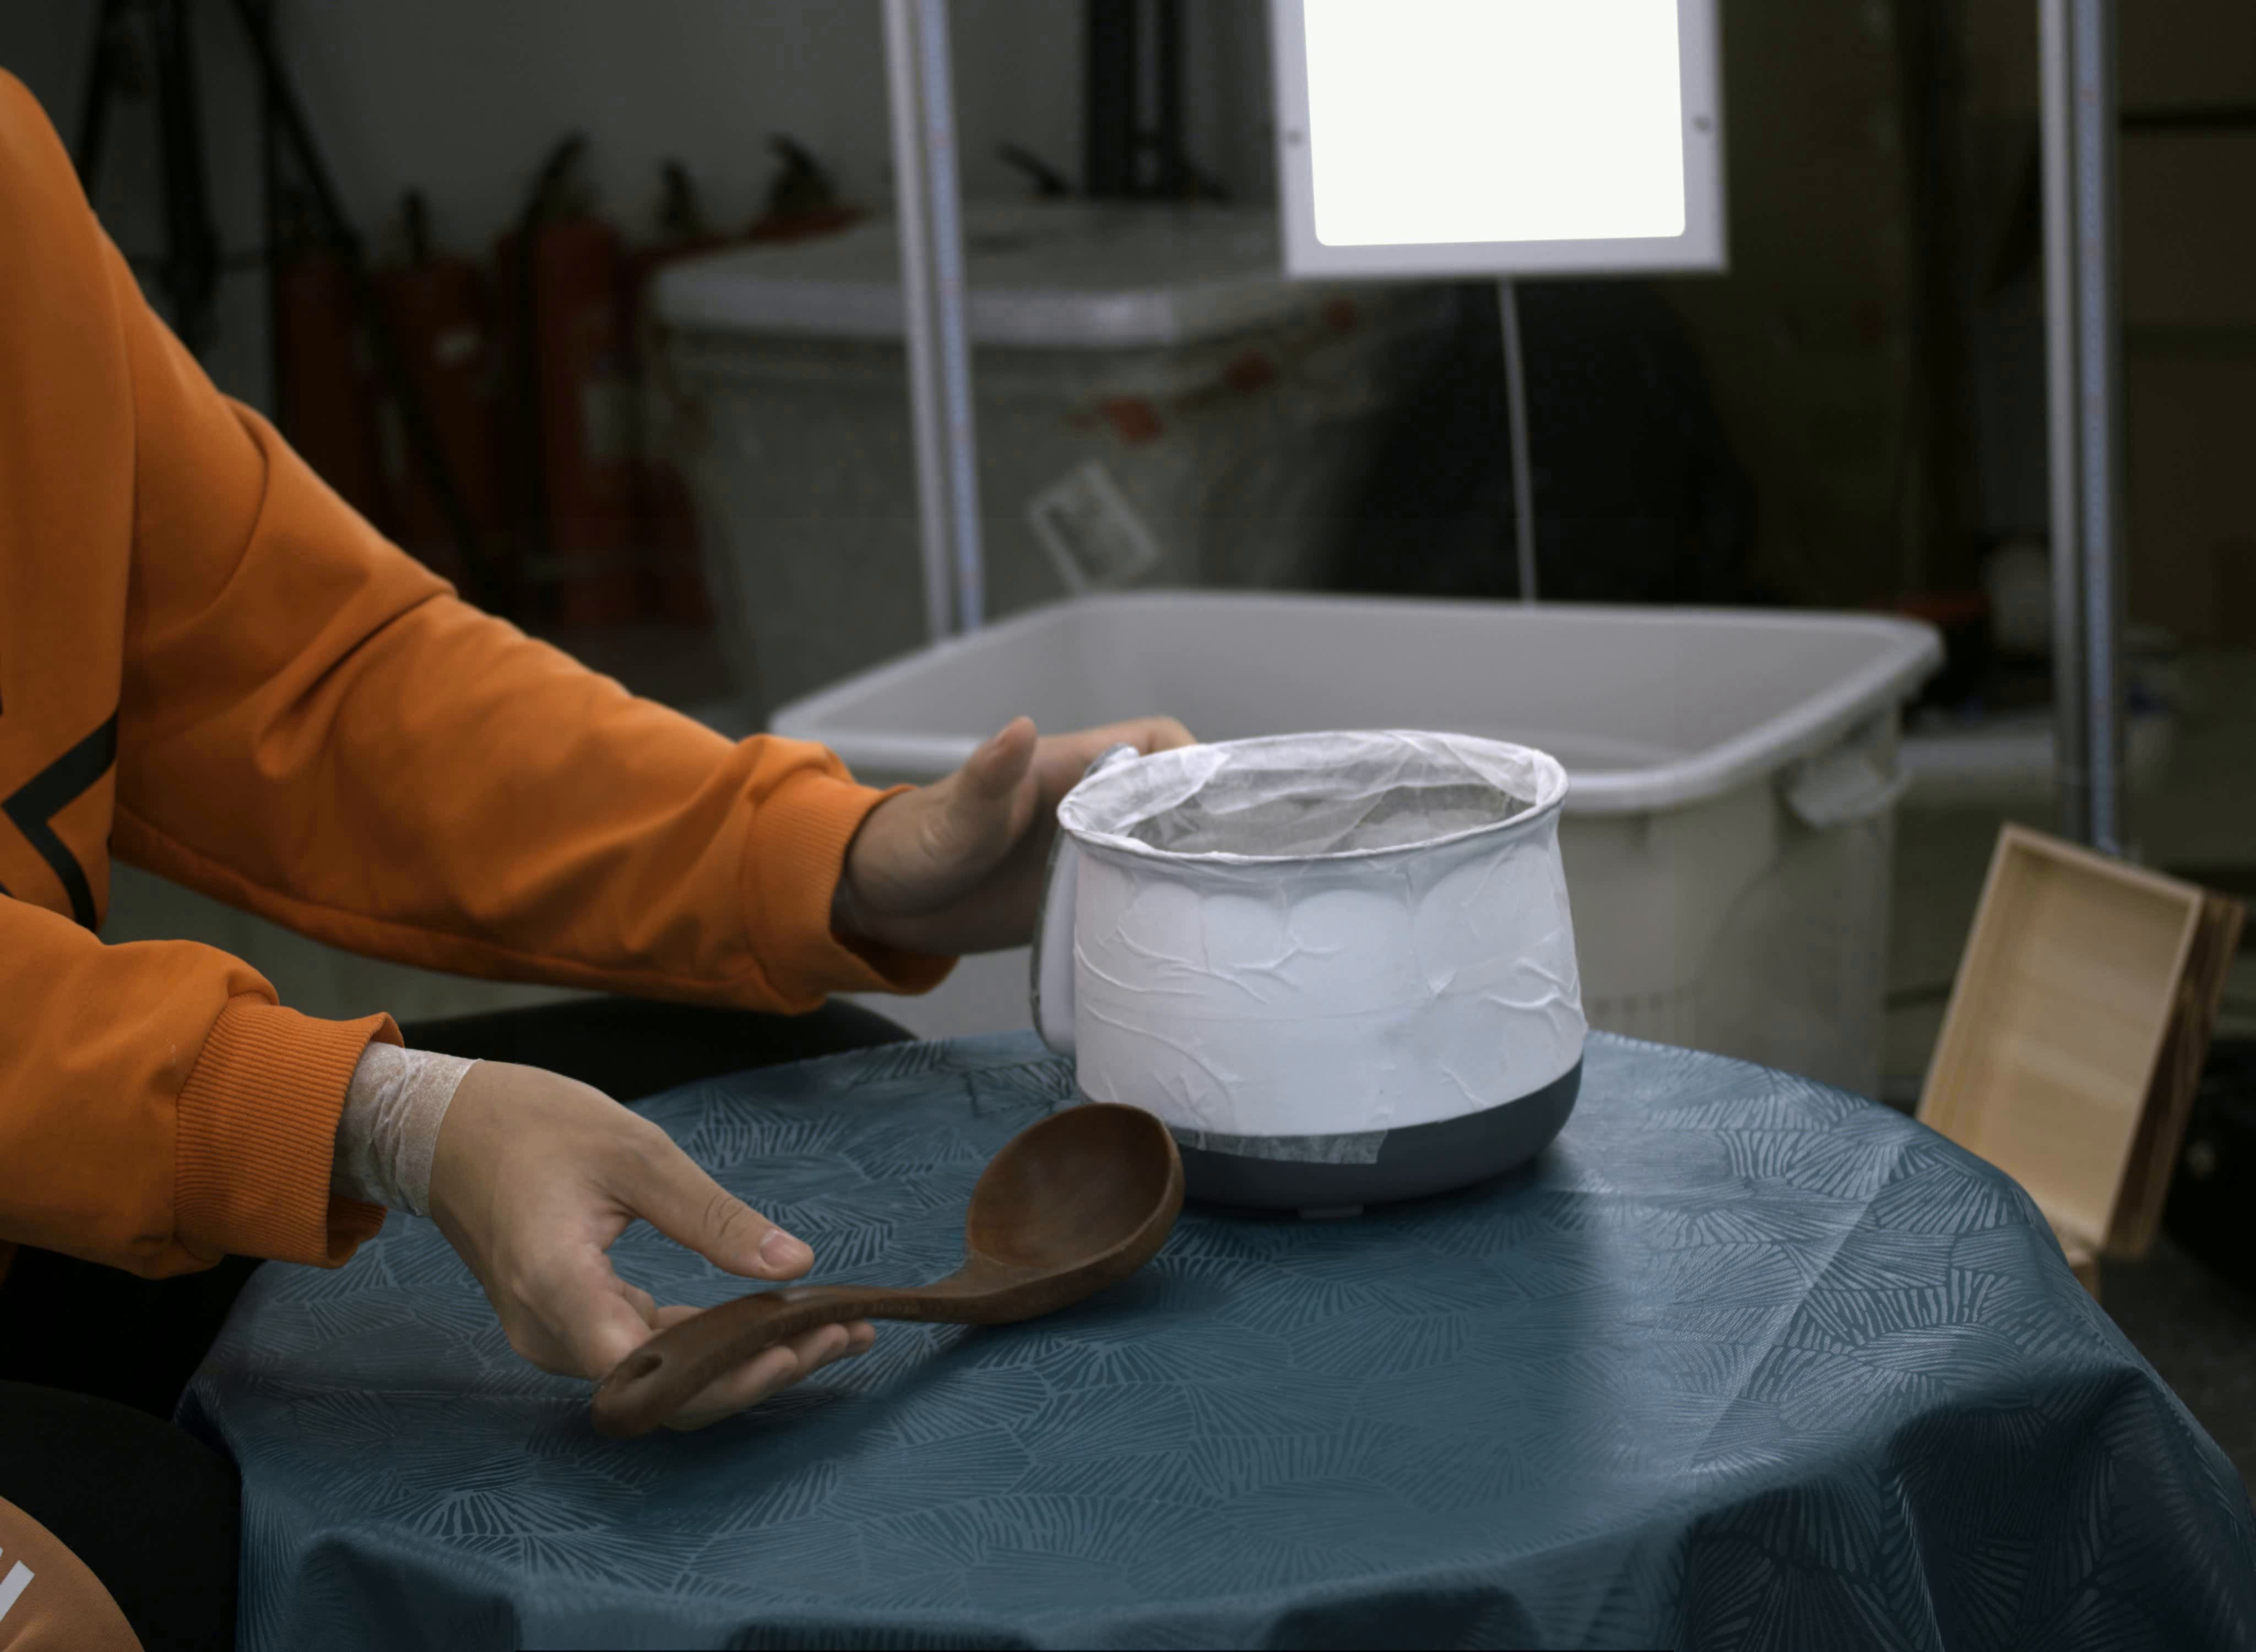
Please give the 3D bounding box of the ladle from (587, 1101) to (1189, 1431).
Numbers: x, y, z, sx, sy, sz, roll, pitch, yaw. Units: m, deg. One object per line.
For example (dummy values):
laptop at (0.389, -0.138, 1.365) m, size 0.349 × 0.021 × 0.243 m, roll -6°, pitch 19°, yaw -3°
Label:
ladle at (-0.076, 0.135, 1.722) m, size 0.078 × 0.065 × 0.253 m, roll 2°, pitch 7°, yaw 40°

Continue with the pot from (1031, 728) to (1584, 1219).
pot at (0.049, 0.045, 1.920) m, size 0.174 × 0.137 × 0.239 m, roll -16°, pitch 18°, yaw -40°
